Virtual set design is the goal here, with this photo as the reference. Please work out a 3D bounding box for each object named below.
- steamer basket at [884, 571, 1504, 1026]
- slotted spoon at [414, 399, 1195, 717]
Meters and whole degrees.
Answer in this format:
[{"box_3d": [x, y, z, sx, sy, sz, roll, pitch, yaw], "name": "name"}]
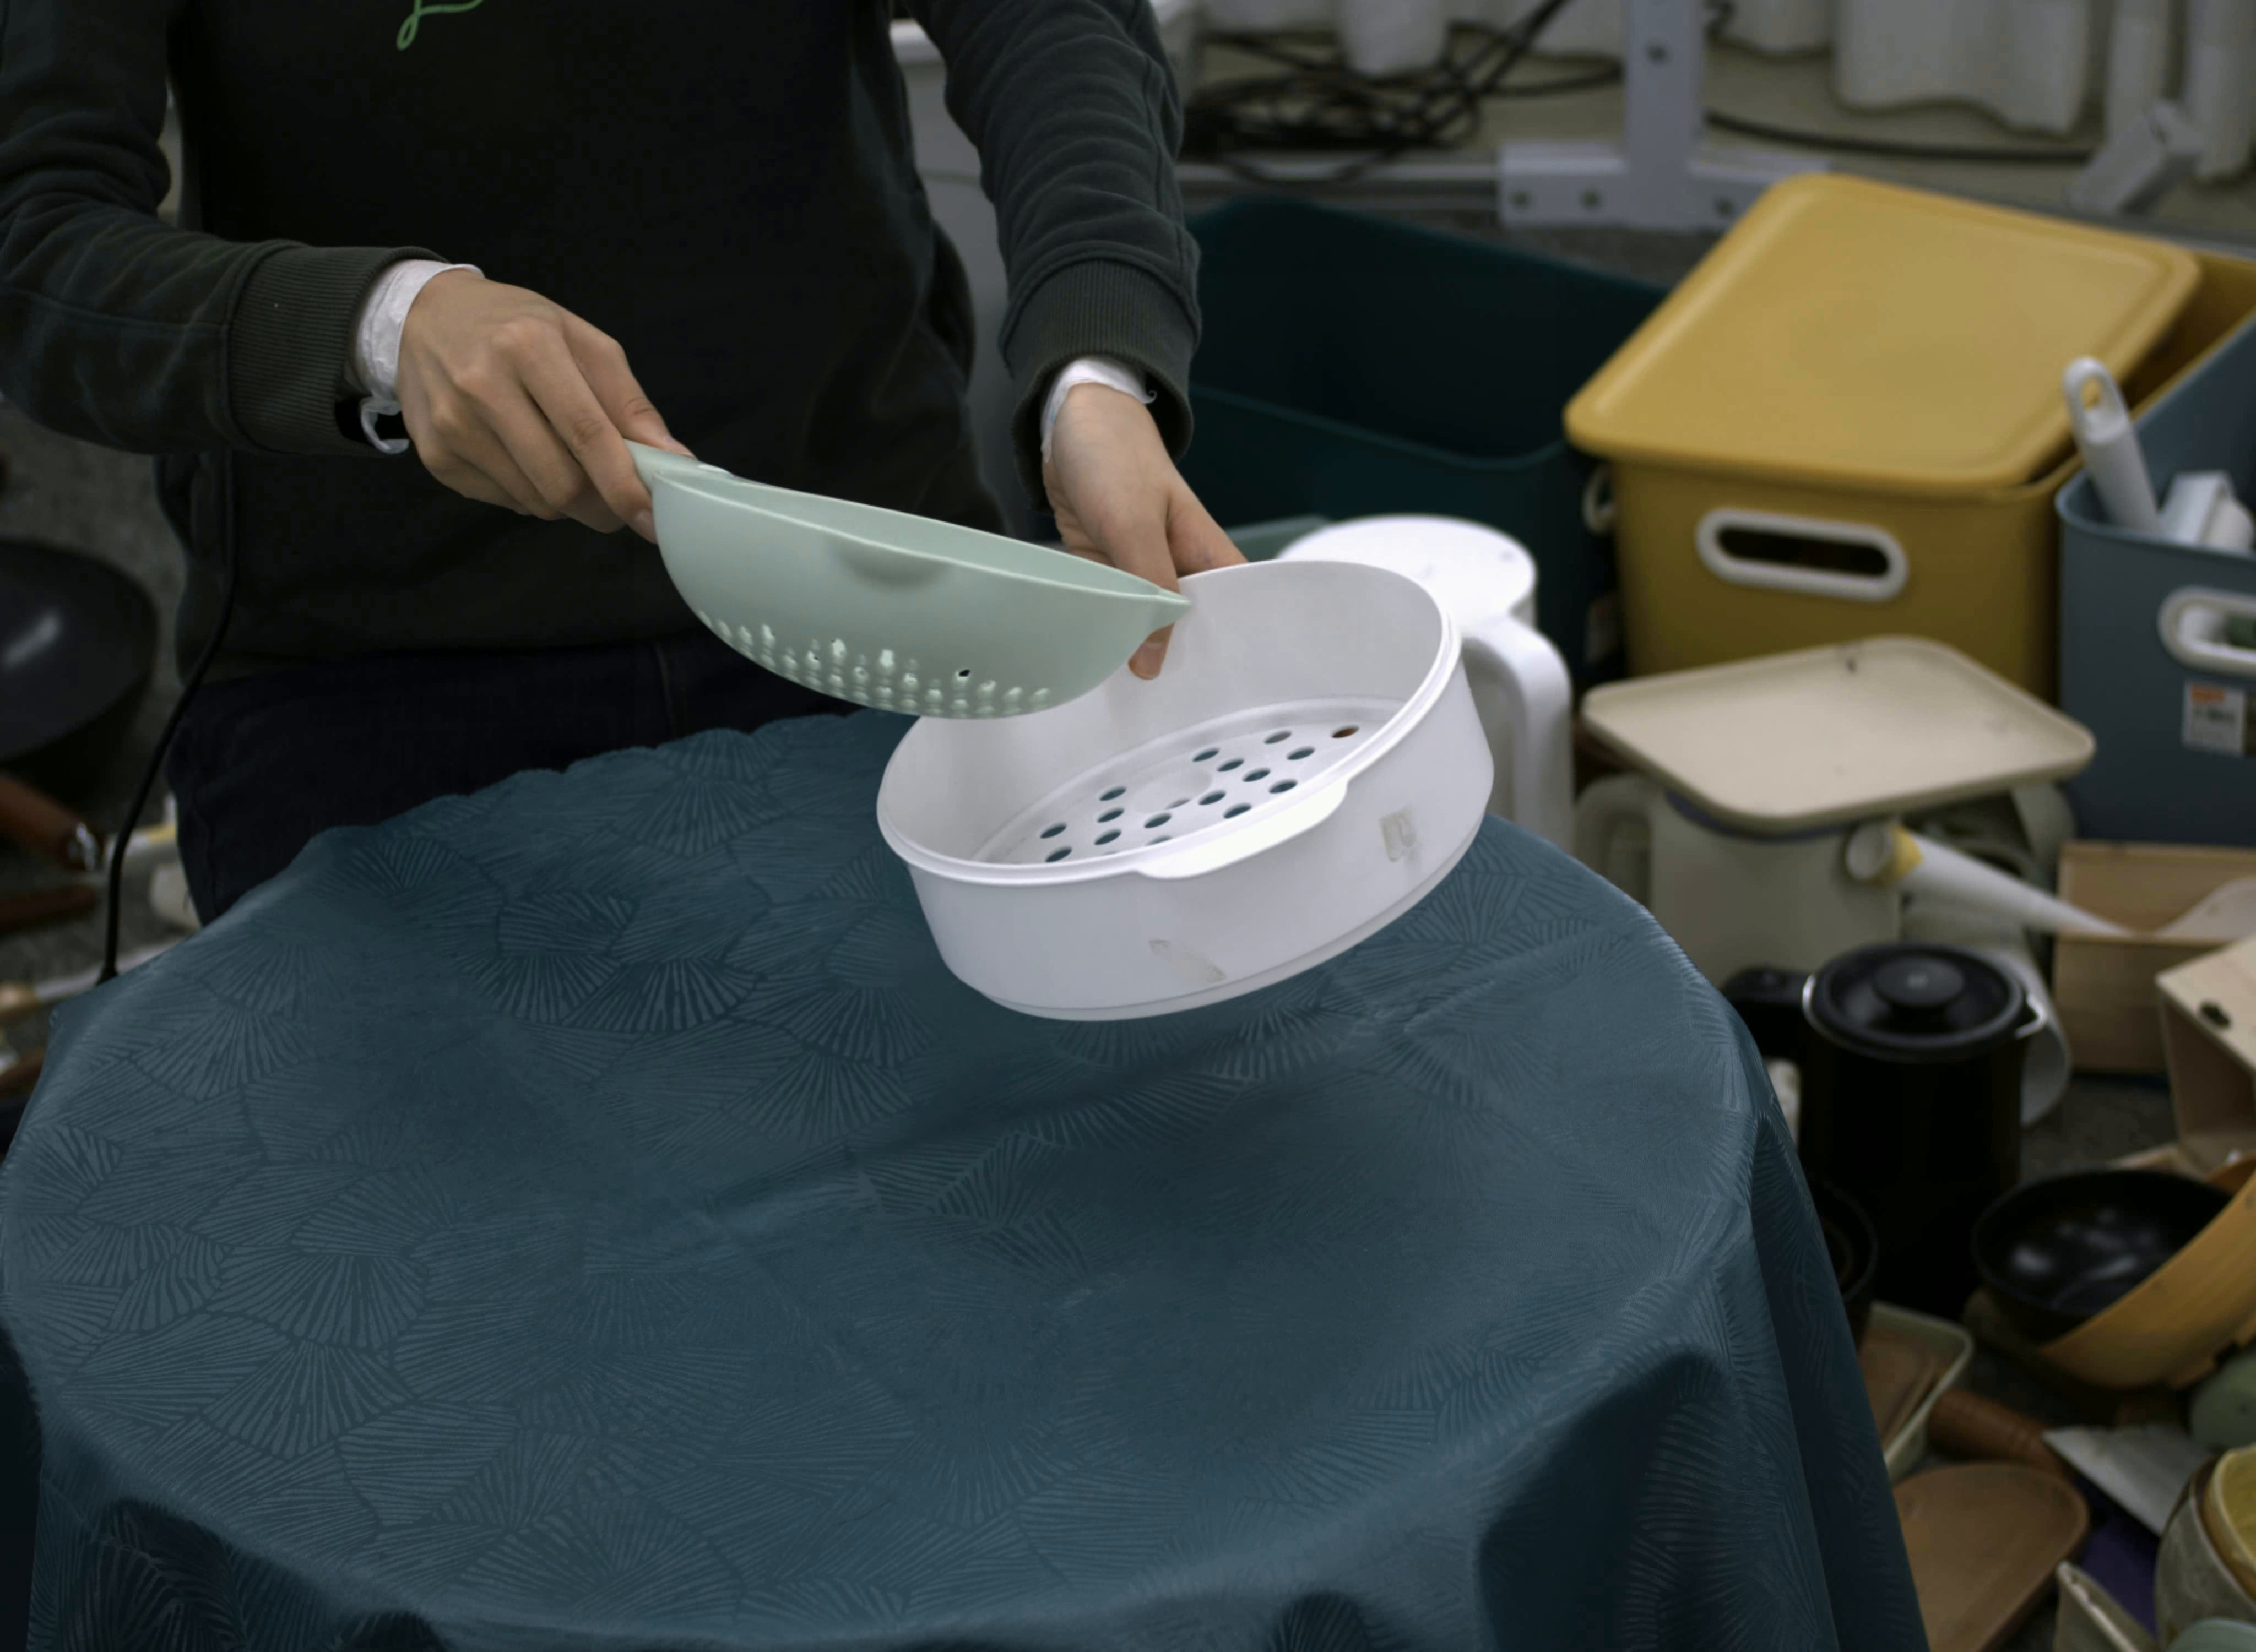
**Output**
[{"box_3d": [0.024, -0.008, 1.840, 0.202, 0.068, 0.232, -22, 25, -7], "name": "steamer basket"}, {"box_3d": [-0.134, -0.104, 1.874, 0.169, 0.075, 0.359, 10, 13, -42], "name": "slotted spoon"}]
